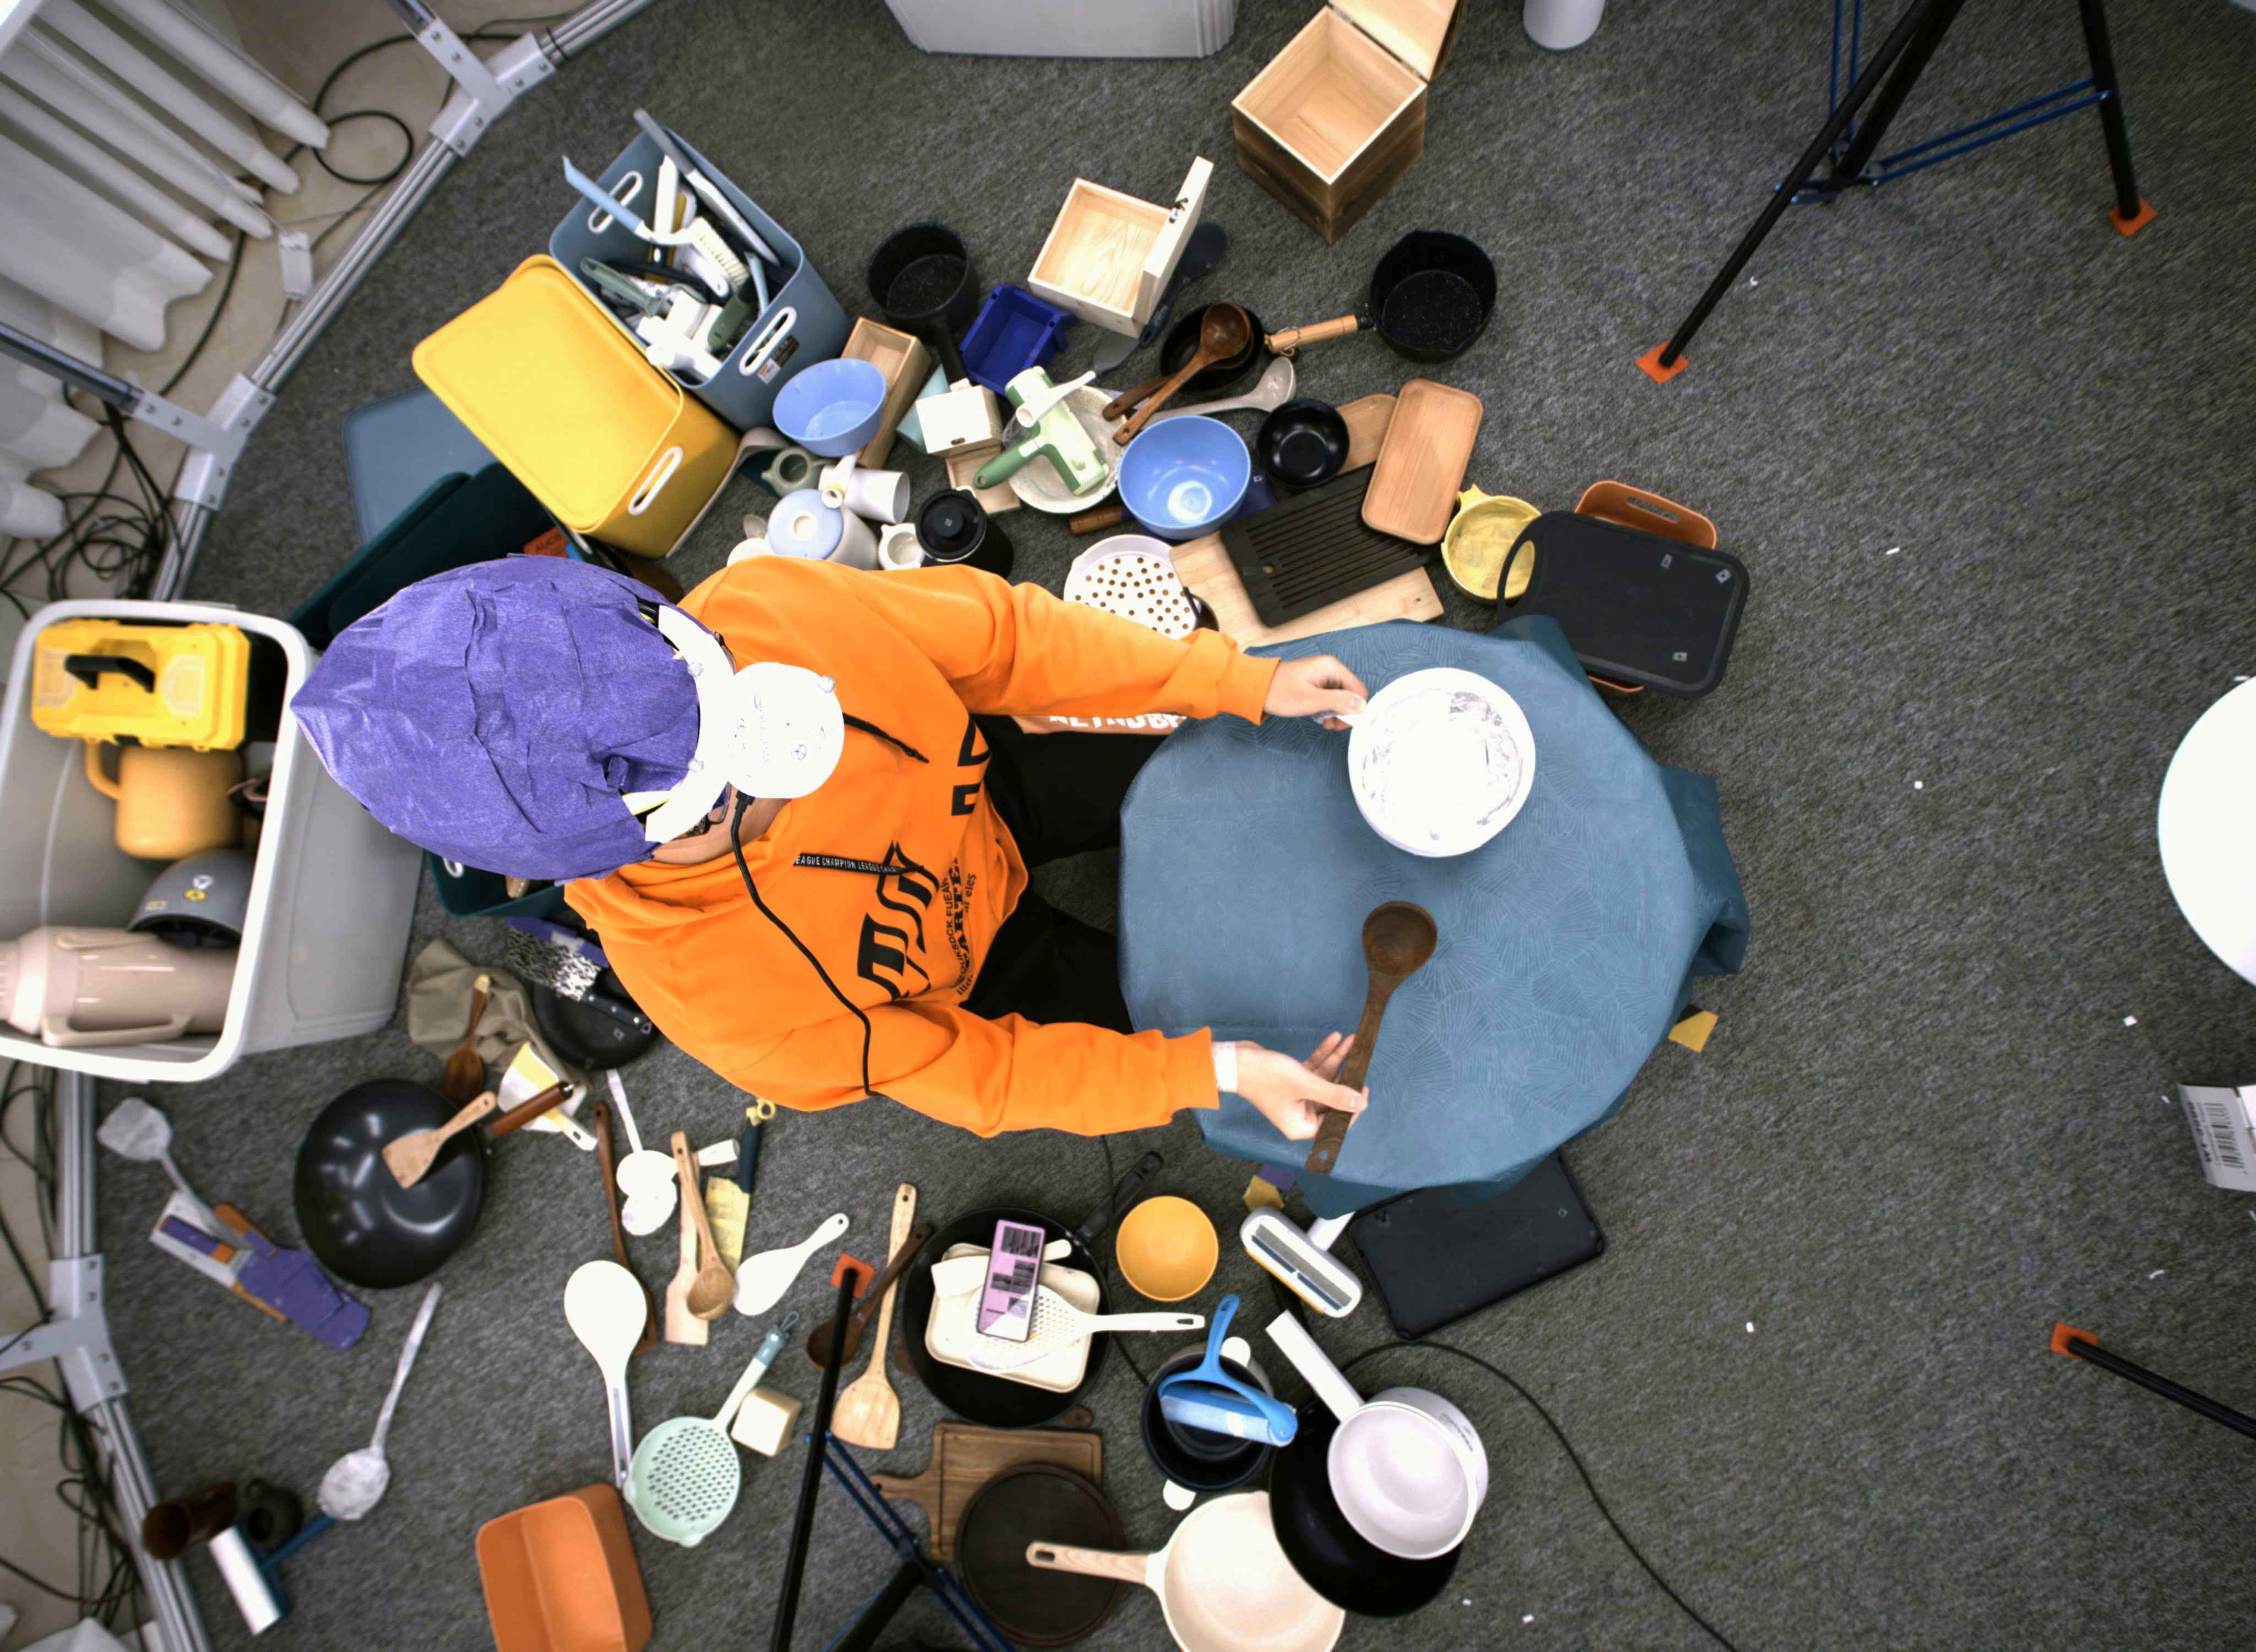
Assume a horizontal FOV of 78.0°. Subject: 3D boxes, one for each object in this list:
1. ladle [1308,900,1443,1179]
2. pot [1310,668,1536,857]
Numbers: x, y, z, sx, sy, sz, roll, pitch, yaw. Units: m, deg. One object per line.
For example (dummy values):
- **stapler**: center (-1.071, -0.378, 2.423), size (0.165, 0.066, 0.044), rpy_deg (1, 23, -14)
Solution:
- **ladle**: center (0.230, 0.200, 1.322), size (0.076, 0.072, 0.269), rpy_deg (20, 72, 10)
- **pot**: center (0.287, -0.075, 1.383), size (0.233, 0.136, 0.179), rpy_deg (30, 92, 11)
